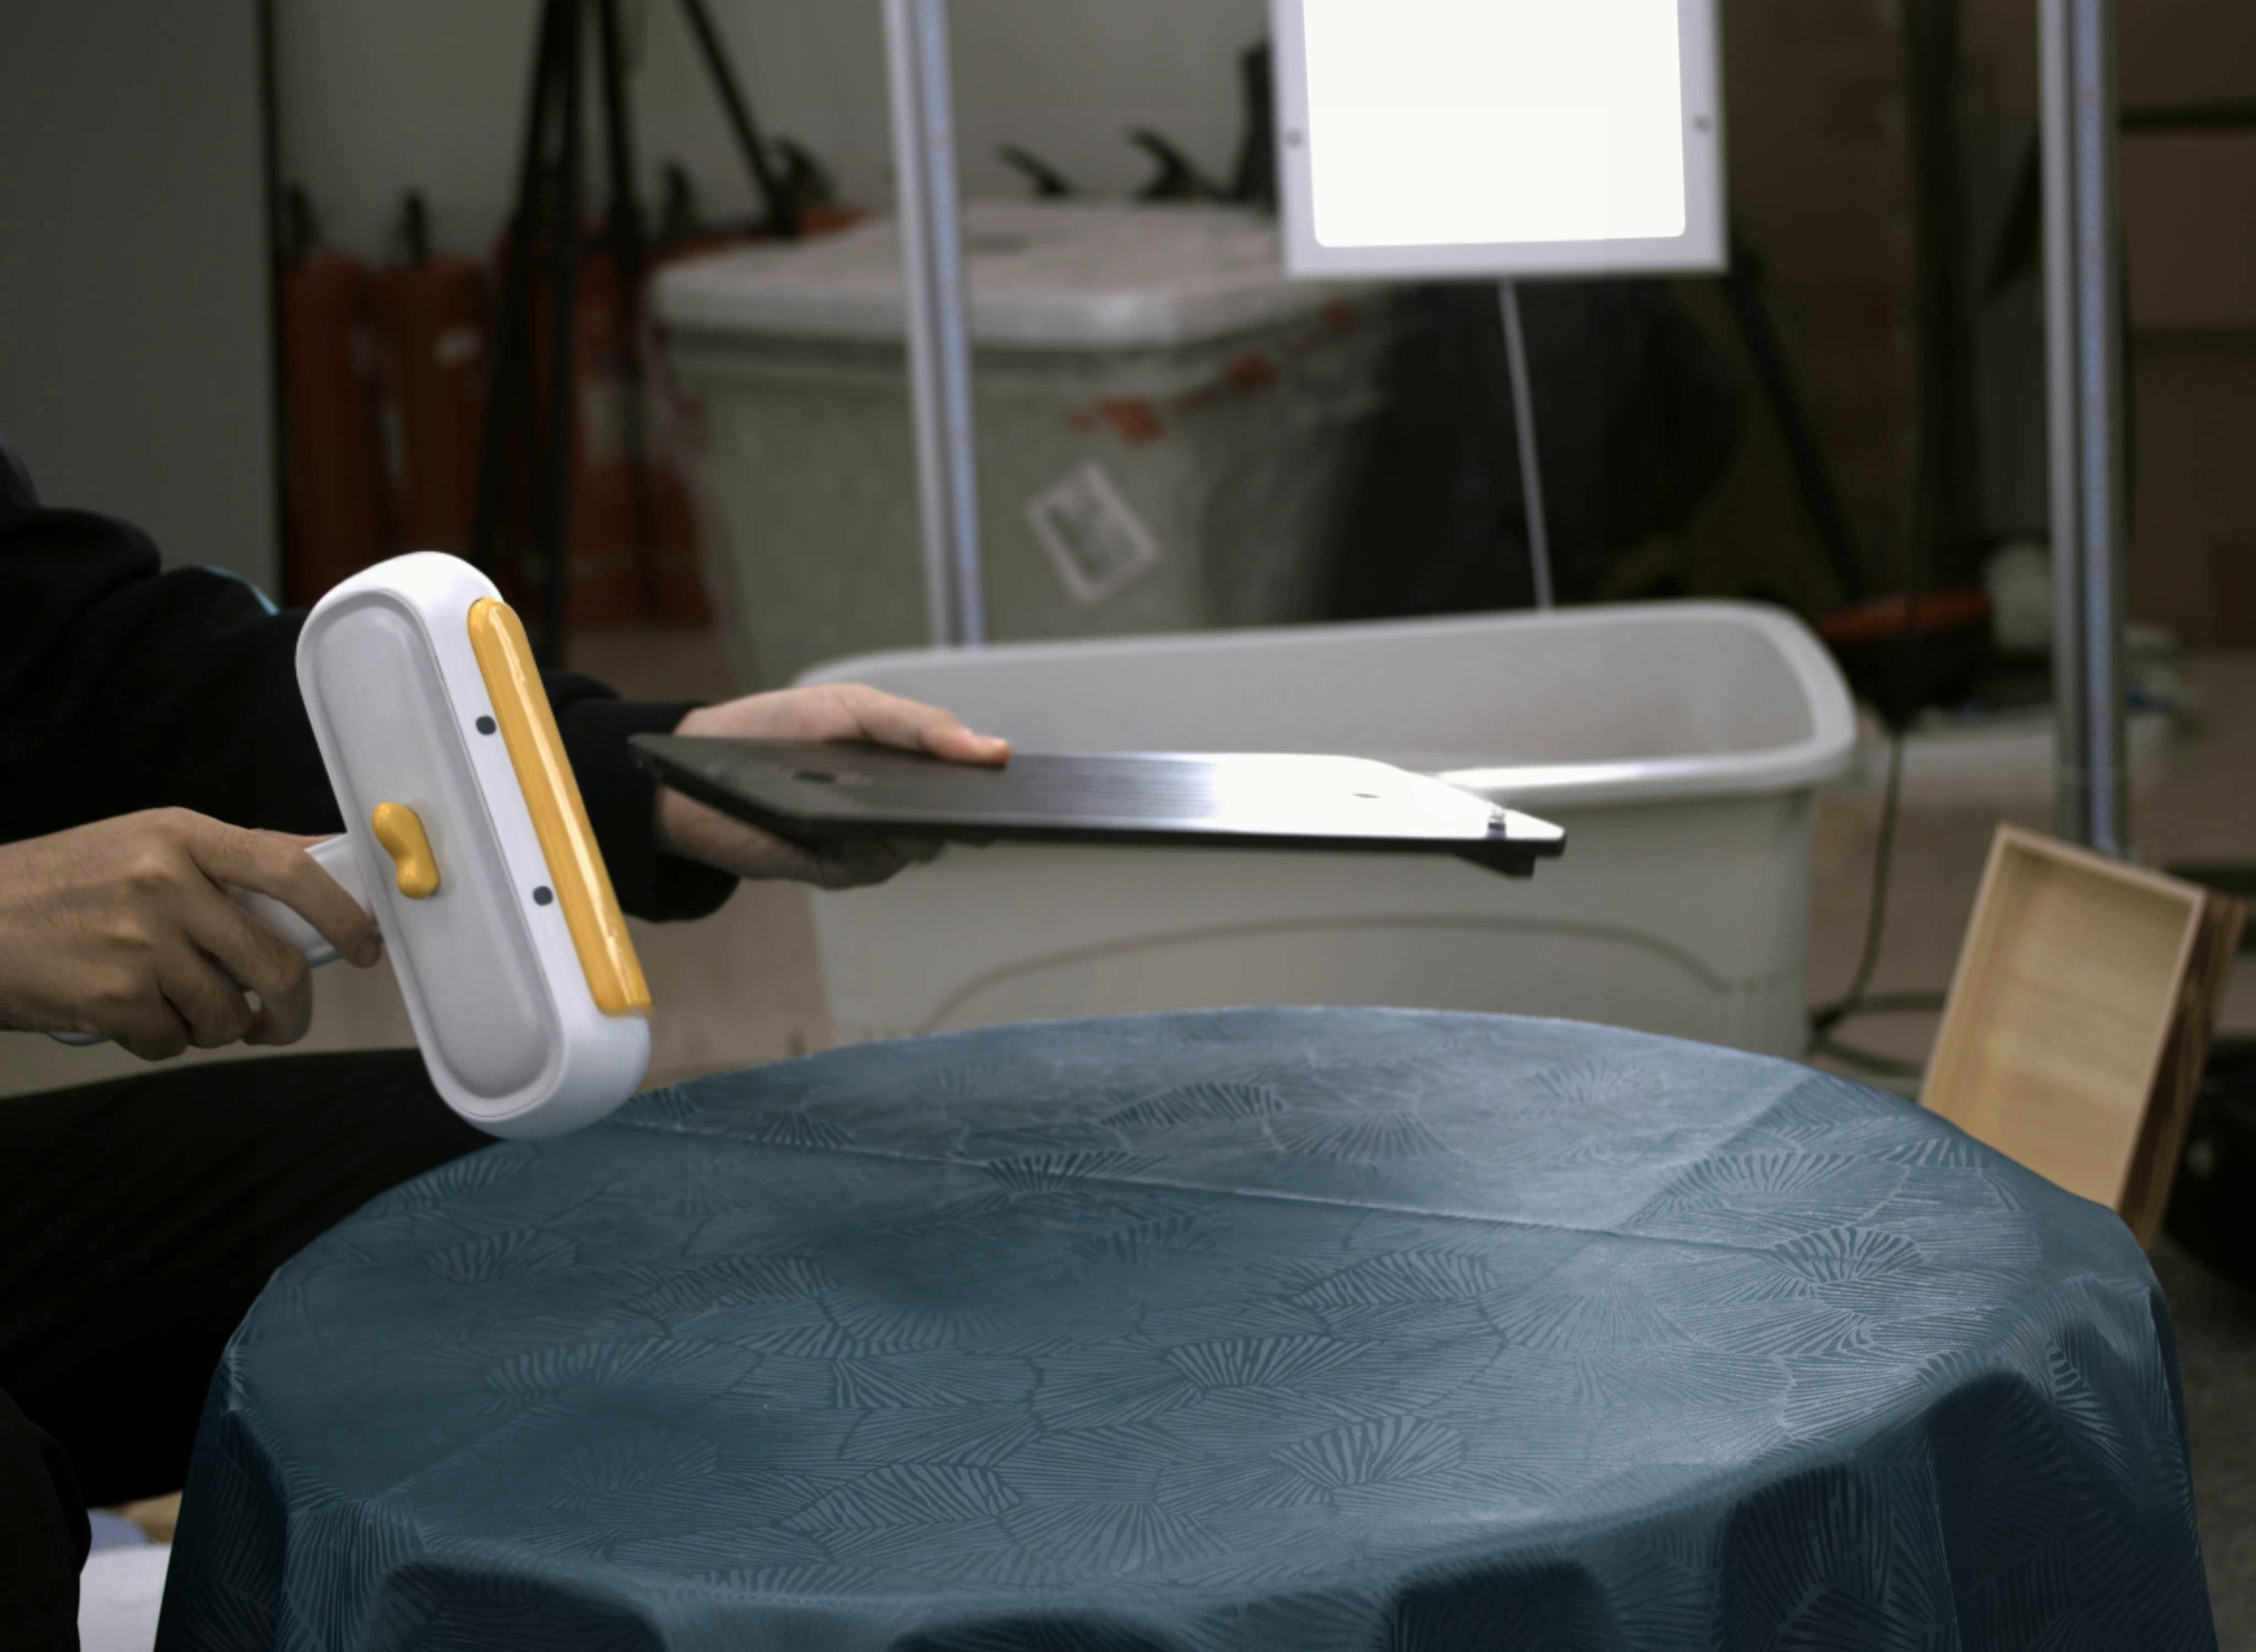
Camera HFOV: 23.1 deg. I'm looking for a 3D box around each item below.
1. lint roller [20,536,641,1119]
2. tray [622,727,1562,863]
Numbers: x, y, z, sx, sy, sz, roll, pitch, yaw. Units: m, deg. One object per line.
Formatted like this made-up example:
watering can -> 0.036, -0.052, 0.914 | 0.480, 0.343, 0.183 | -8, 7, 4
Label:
lint roller -> -0.267, 0.025, 1.784 | 0.195, 0.193, 0.073 | -25, -5, 20
tray -> -0.013, -0.011, 1.951 | 0.300, 0.019, 0.173 | 2, 8, -25
